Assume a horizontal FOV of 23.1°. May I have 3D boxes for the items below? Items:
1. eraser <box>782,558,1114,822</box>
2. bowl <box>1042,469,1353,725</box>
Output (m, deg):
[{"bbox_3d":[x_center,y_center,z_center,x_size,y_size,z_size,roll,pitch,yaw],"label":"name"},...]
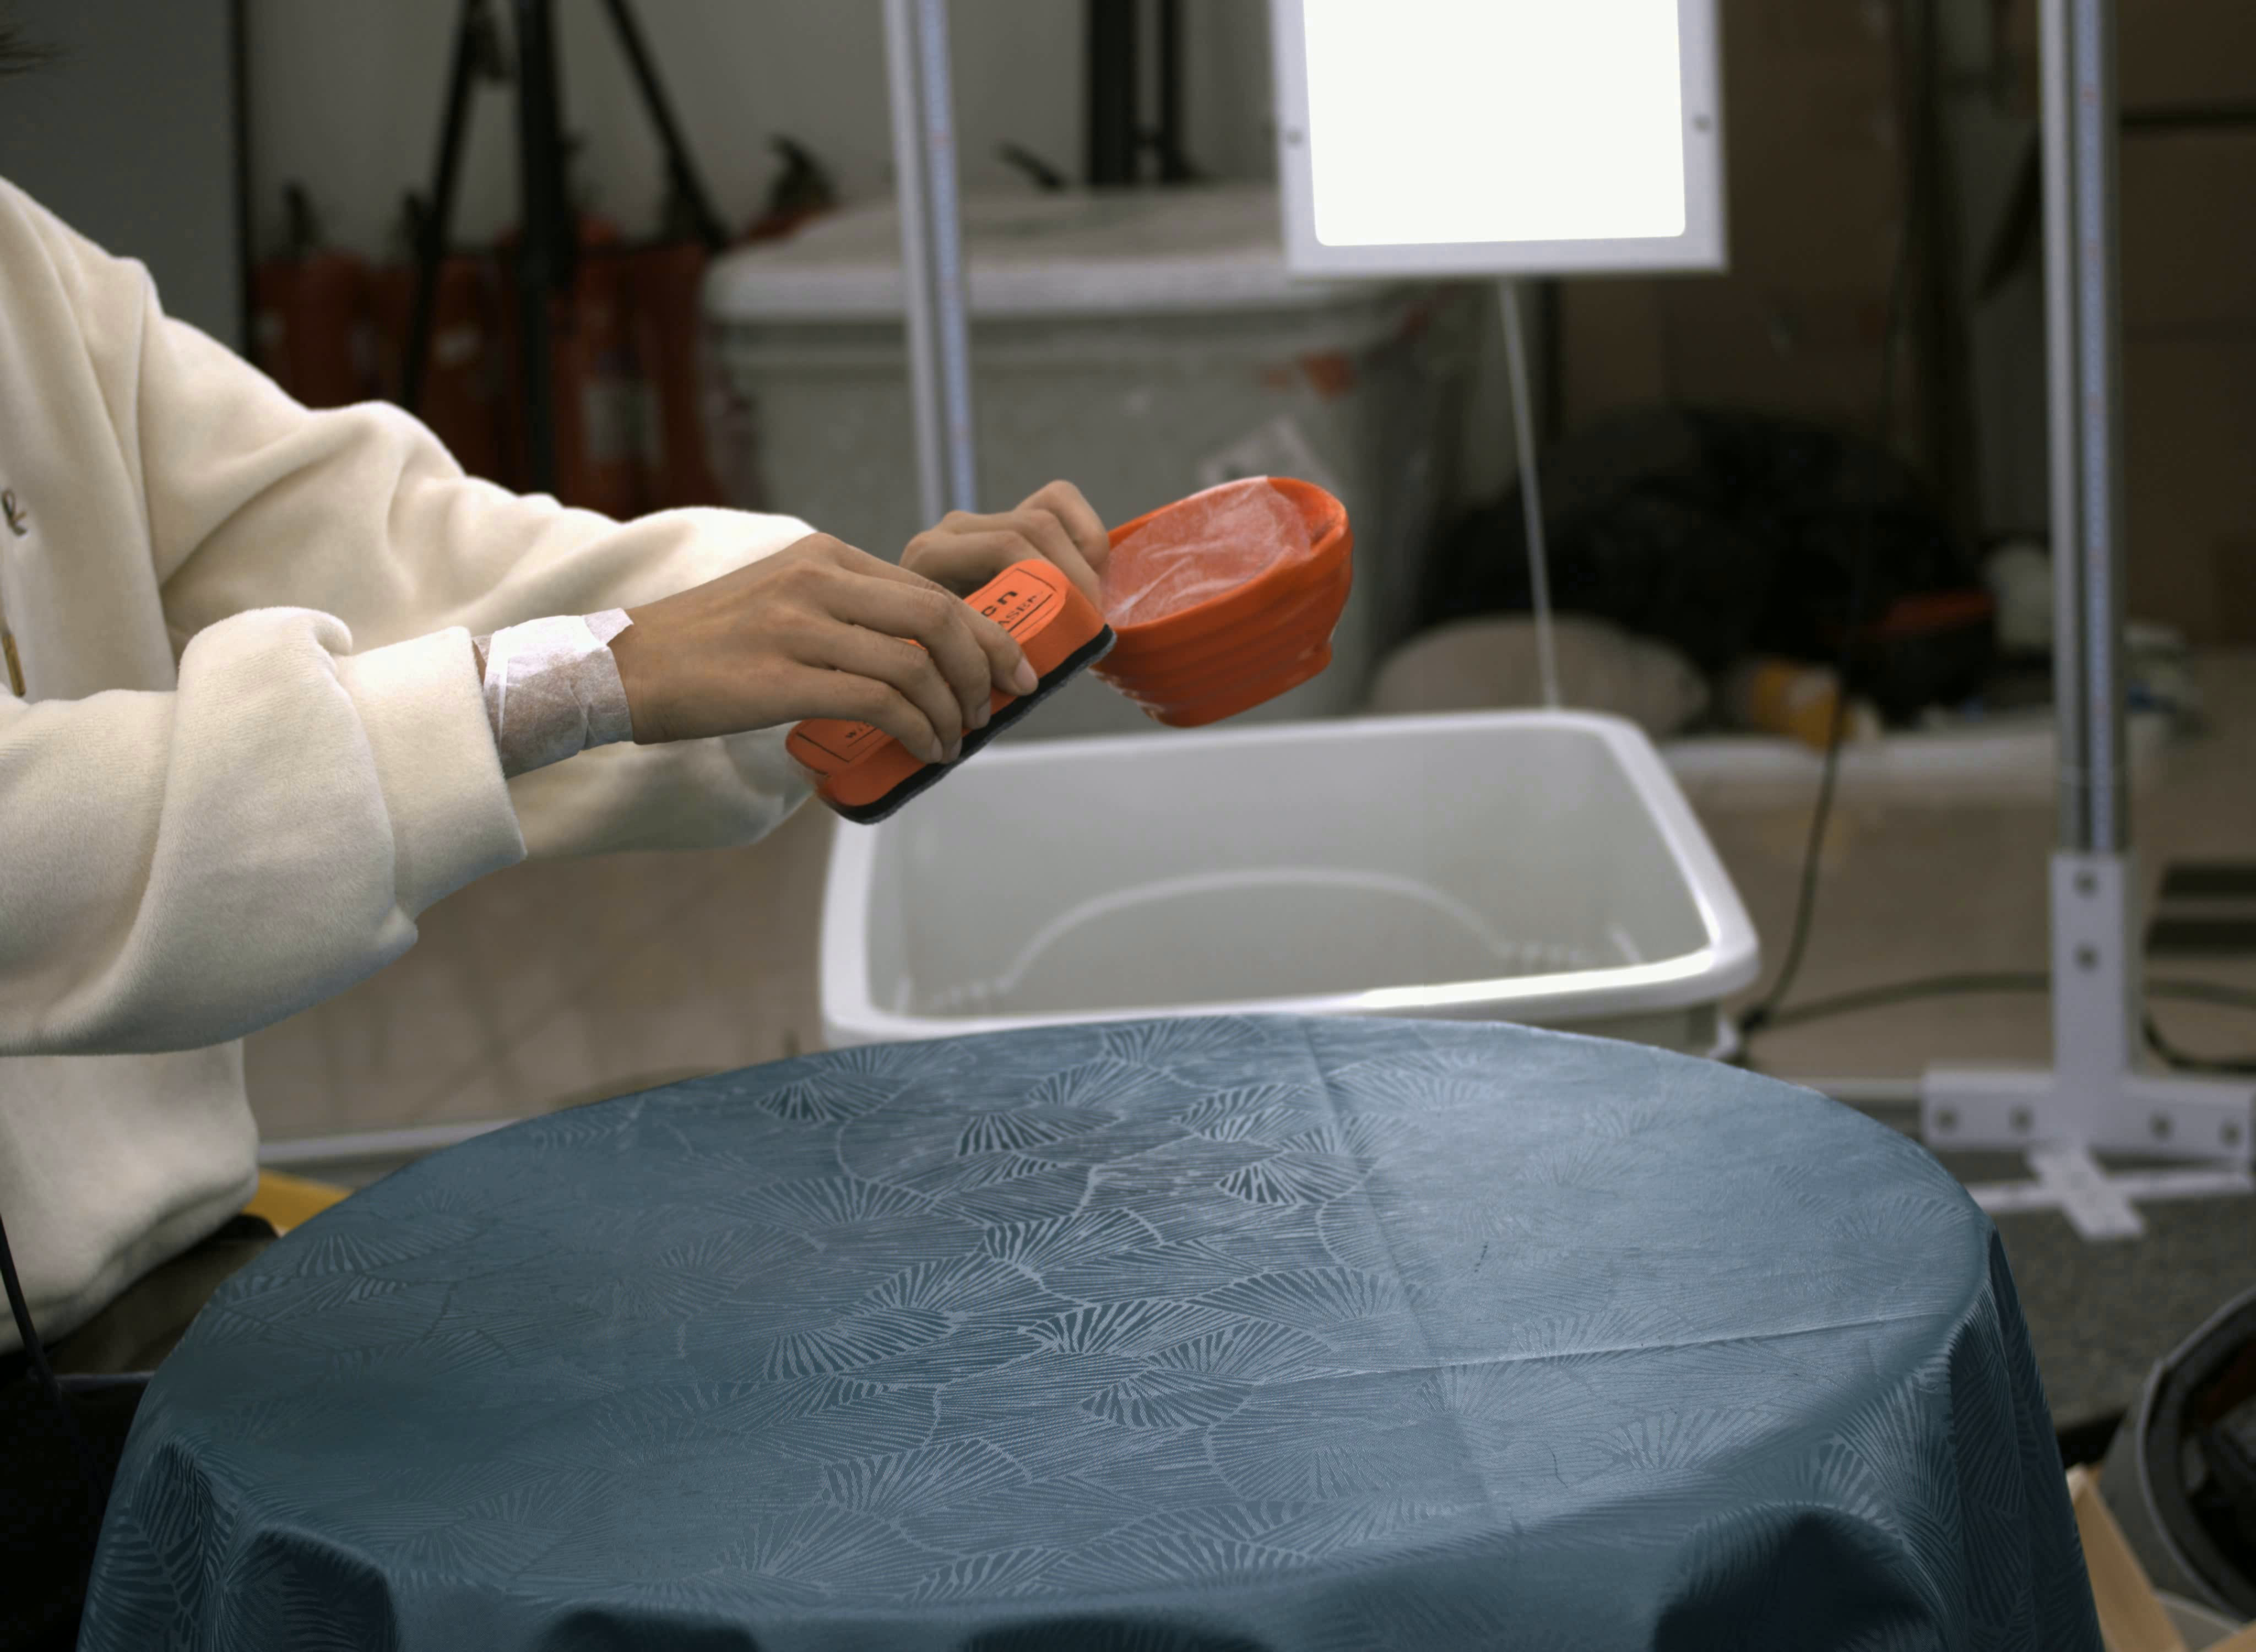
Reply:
[{"bbox_3d":[-0.060,-0.046,1.830,0.107,0.023,0.060,-37,29,-10],"label":"eraser"},{"bbox_3d":[0.029,-0.075,1.903,0.119,0.051,0.118,-19,23,7],"label":"bowl"}]
